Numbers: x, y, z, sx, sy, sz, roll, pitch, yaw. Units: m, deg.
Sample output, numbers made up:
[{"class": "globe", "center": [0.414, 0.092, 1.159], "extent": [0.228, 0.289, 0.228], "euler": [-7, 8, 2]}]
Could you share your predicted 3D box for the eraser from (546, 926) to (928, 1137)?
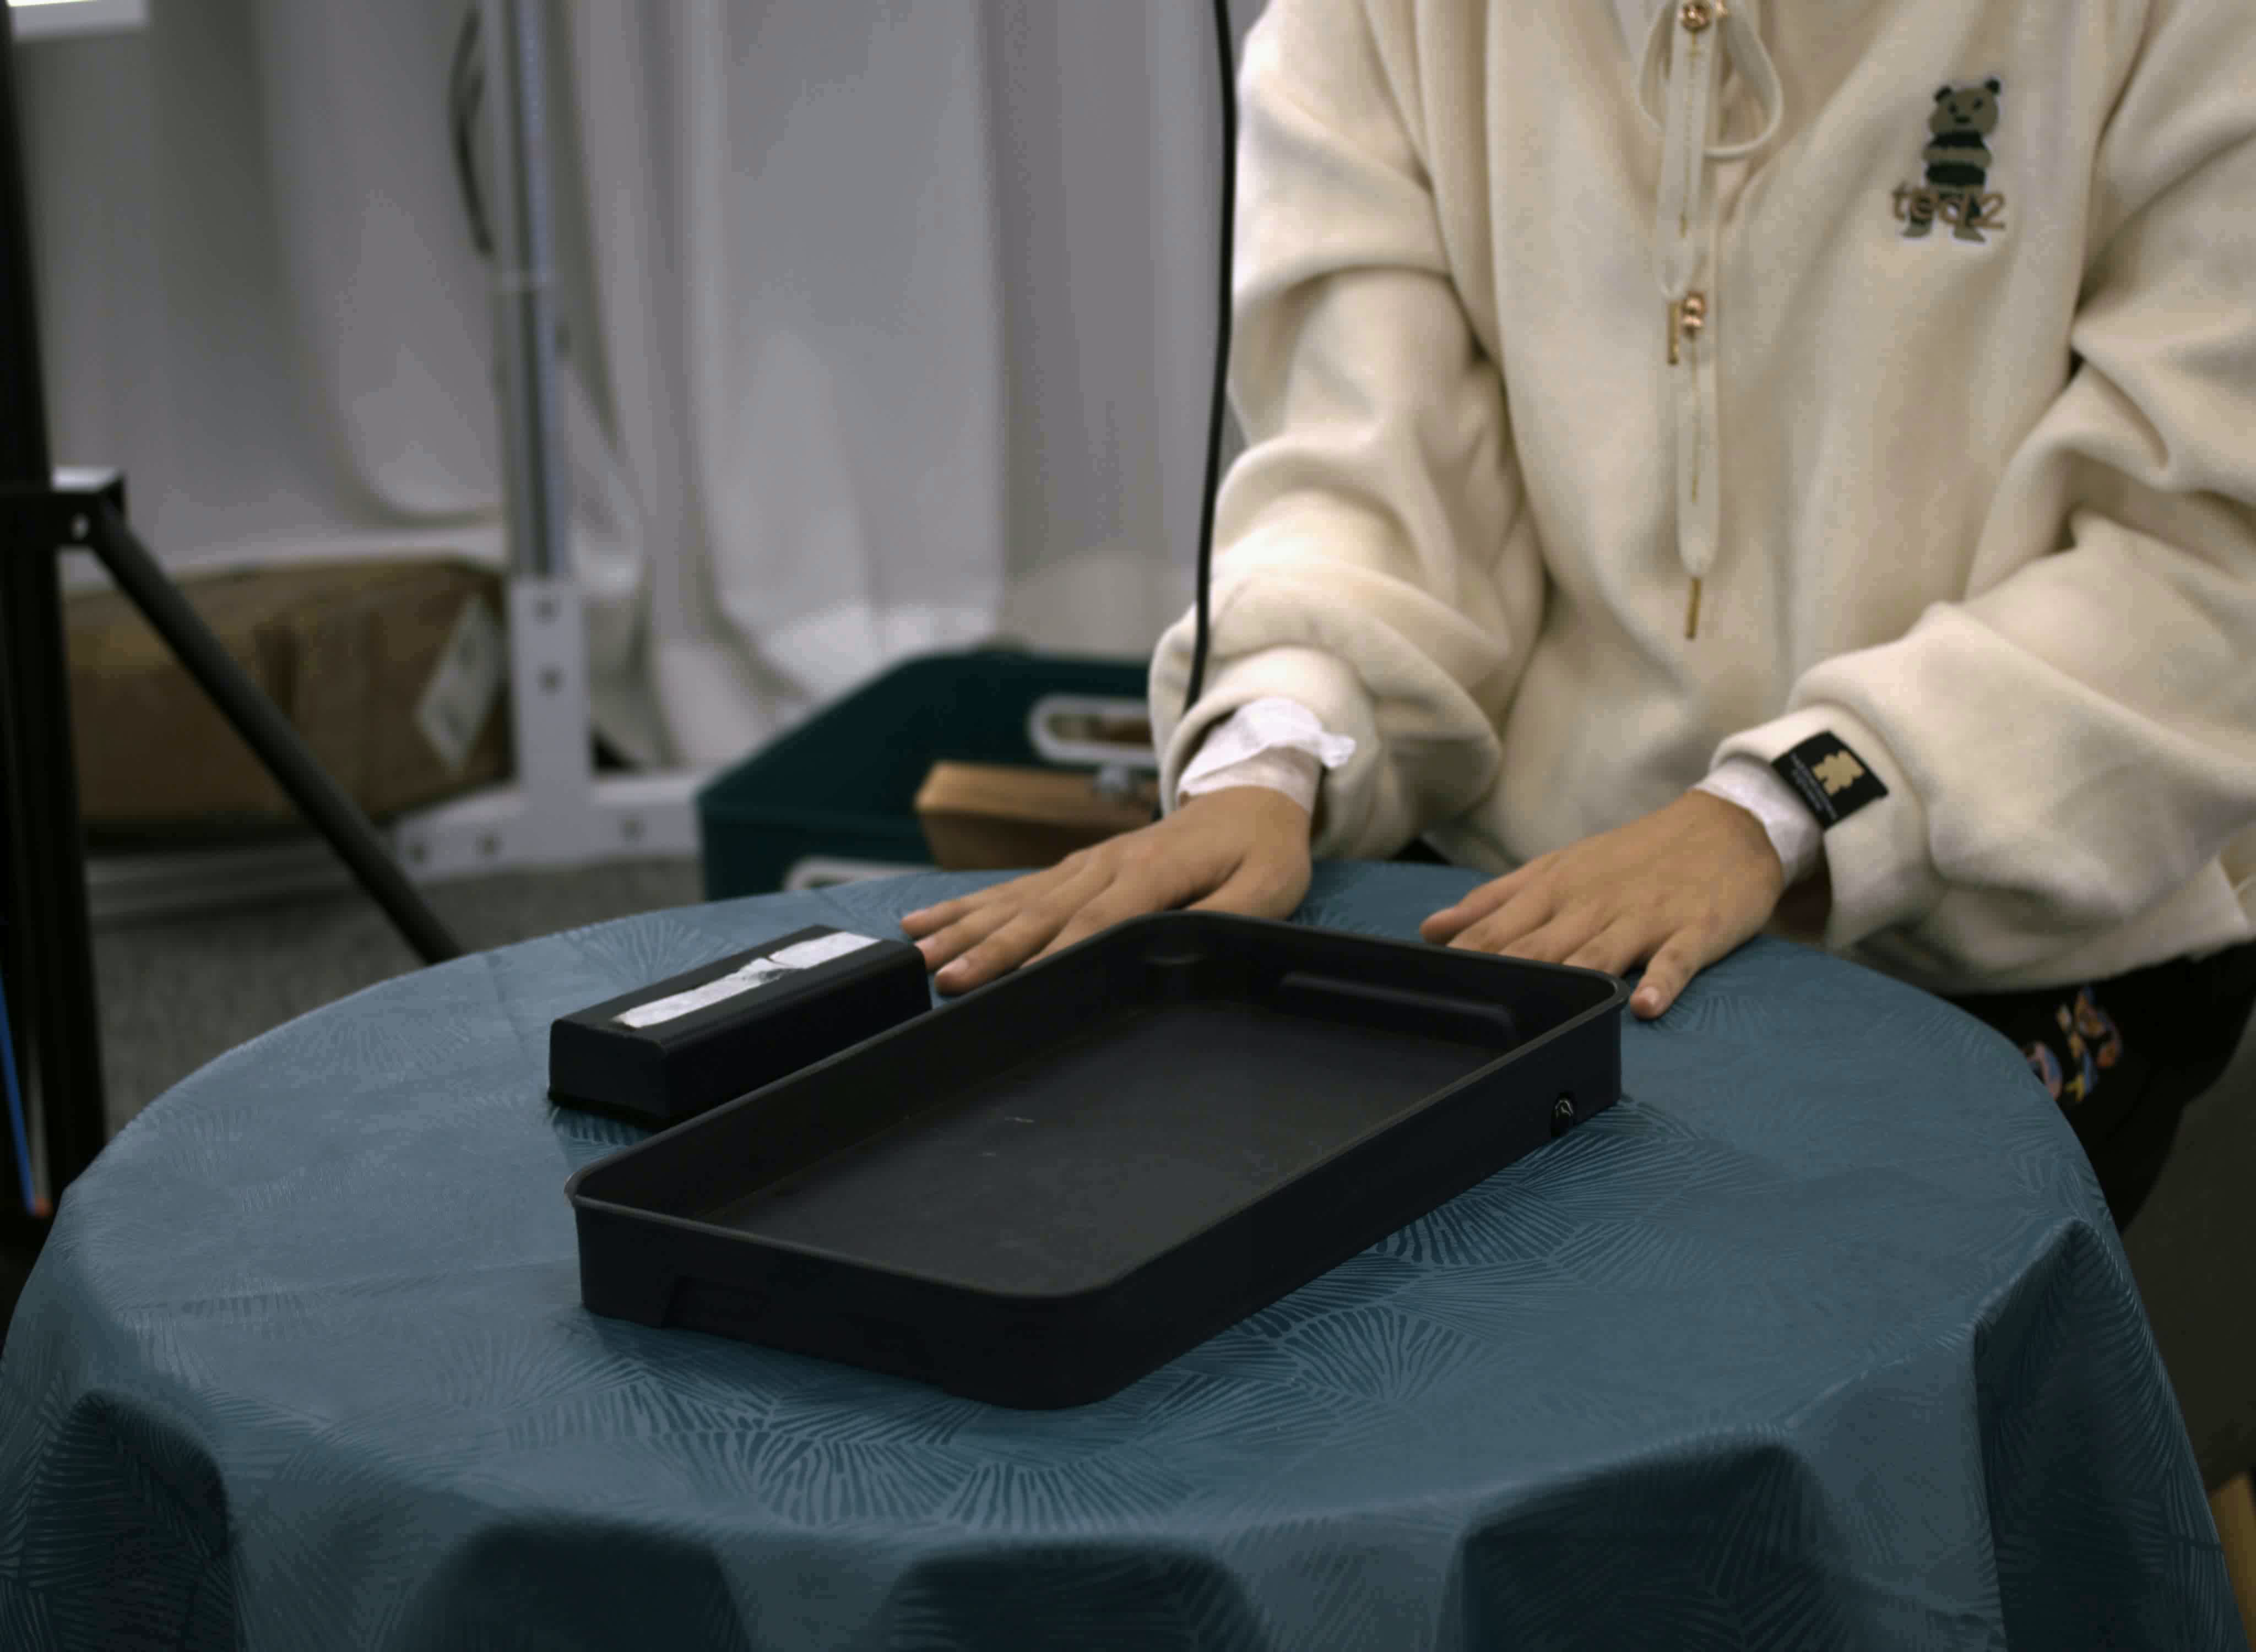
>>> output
[{"class": "eraser", "center": [-0.122, 0.064, 1.683], "extent": [0.054, 0.030, 0.123], "euler": [15, 23, 38]}]

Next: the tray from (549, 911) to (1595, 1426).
[{"class": "tray", "center": [-0.008, 0.092, 1.546], "extent": [0.188, 0.037, 0.312], "euler": [7, 19, 32]}]
